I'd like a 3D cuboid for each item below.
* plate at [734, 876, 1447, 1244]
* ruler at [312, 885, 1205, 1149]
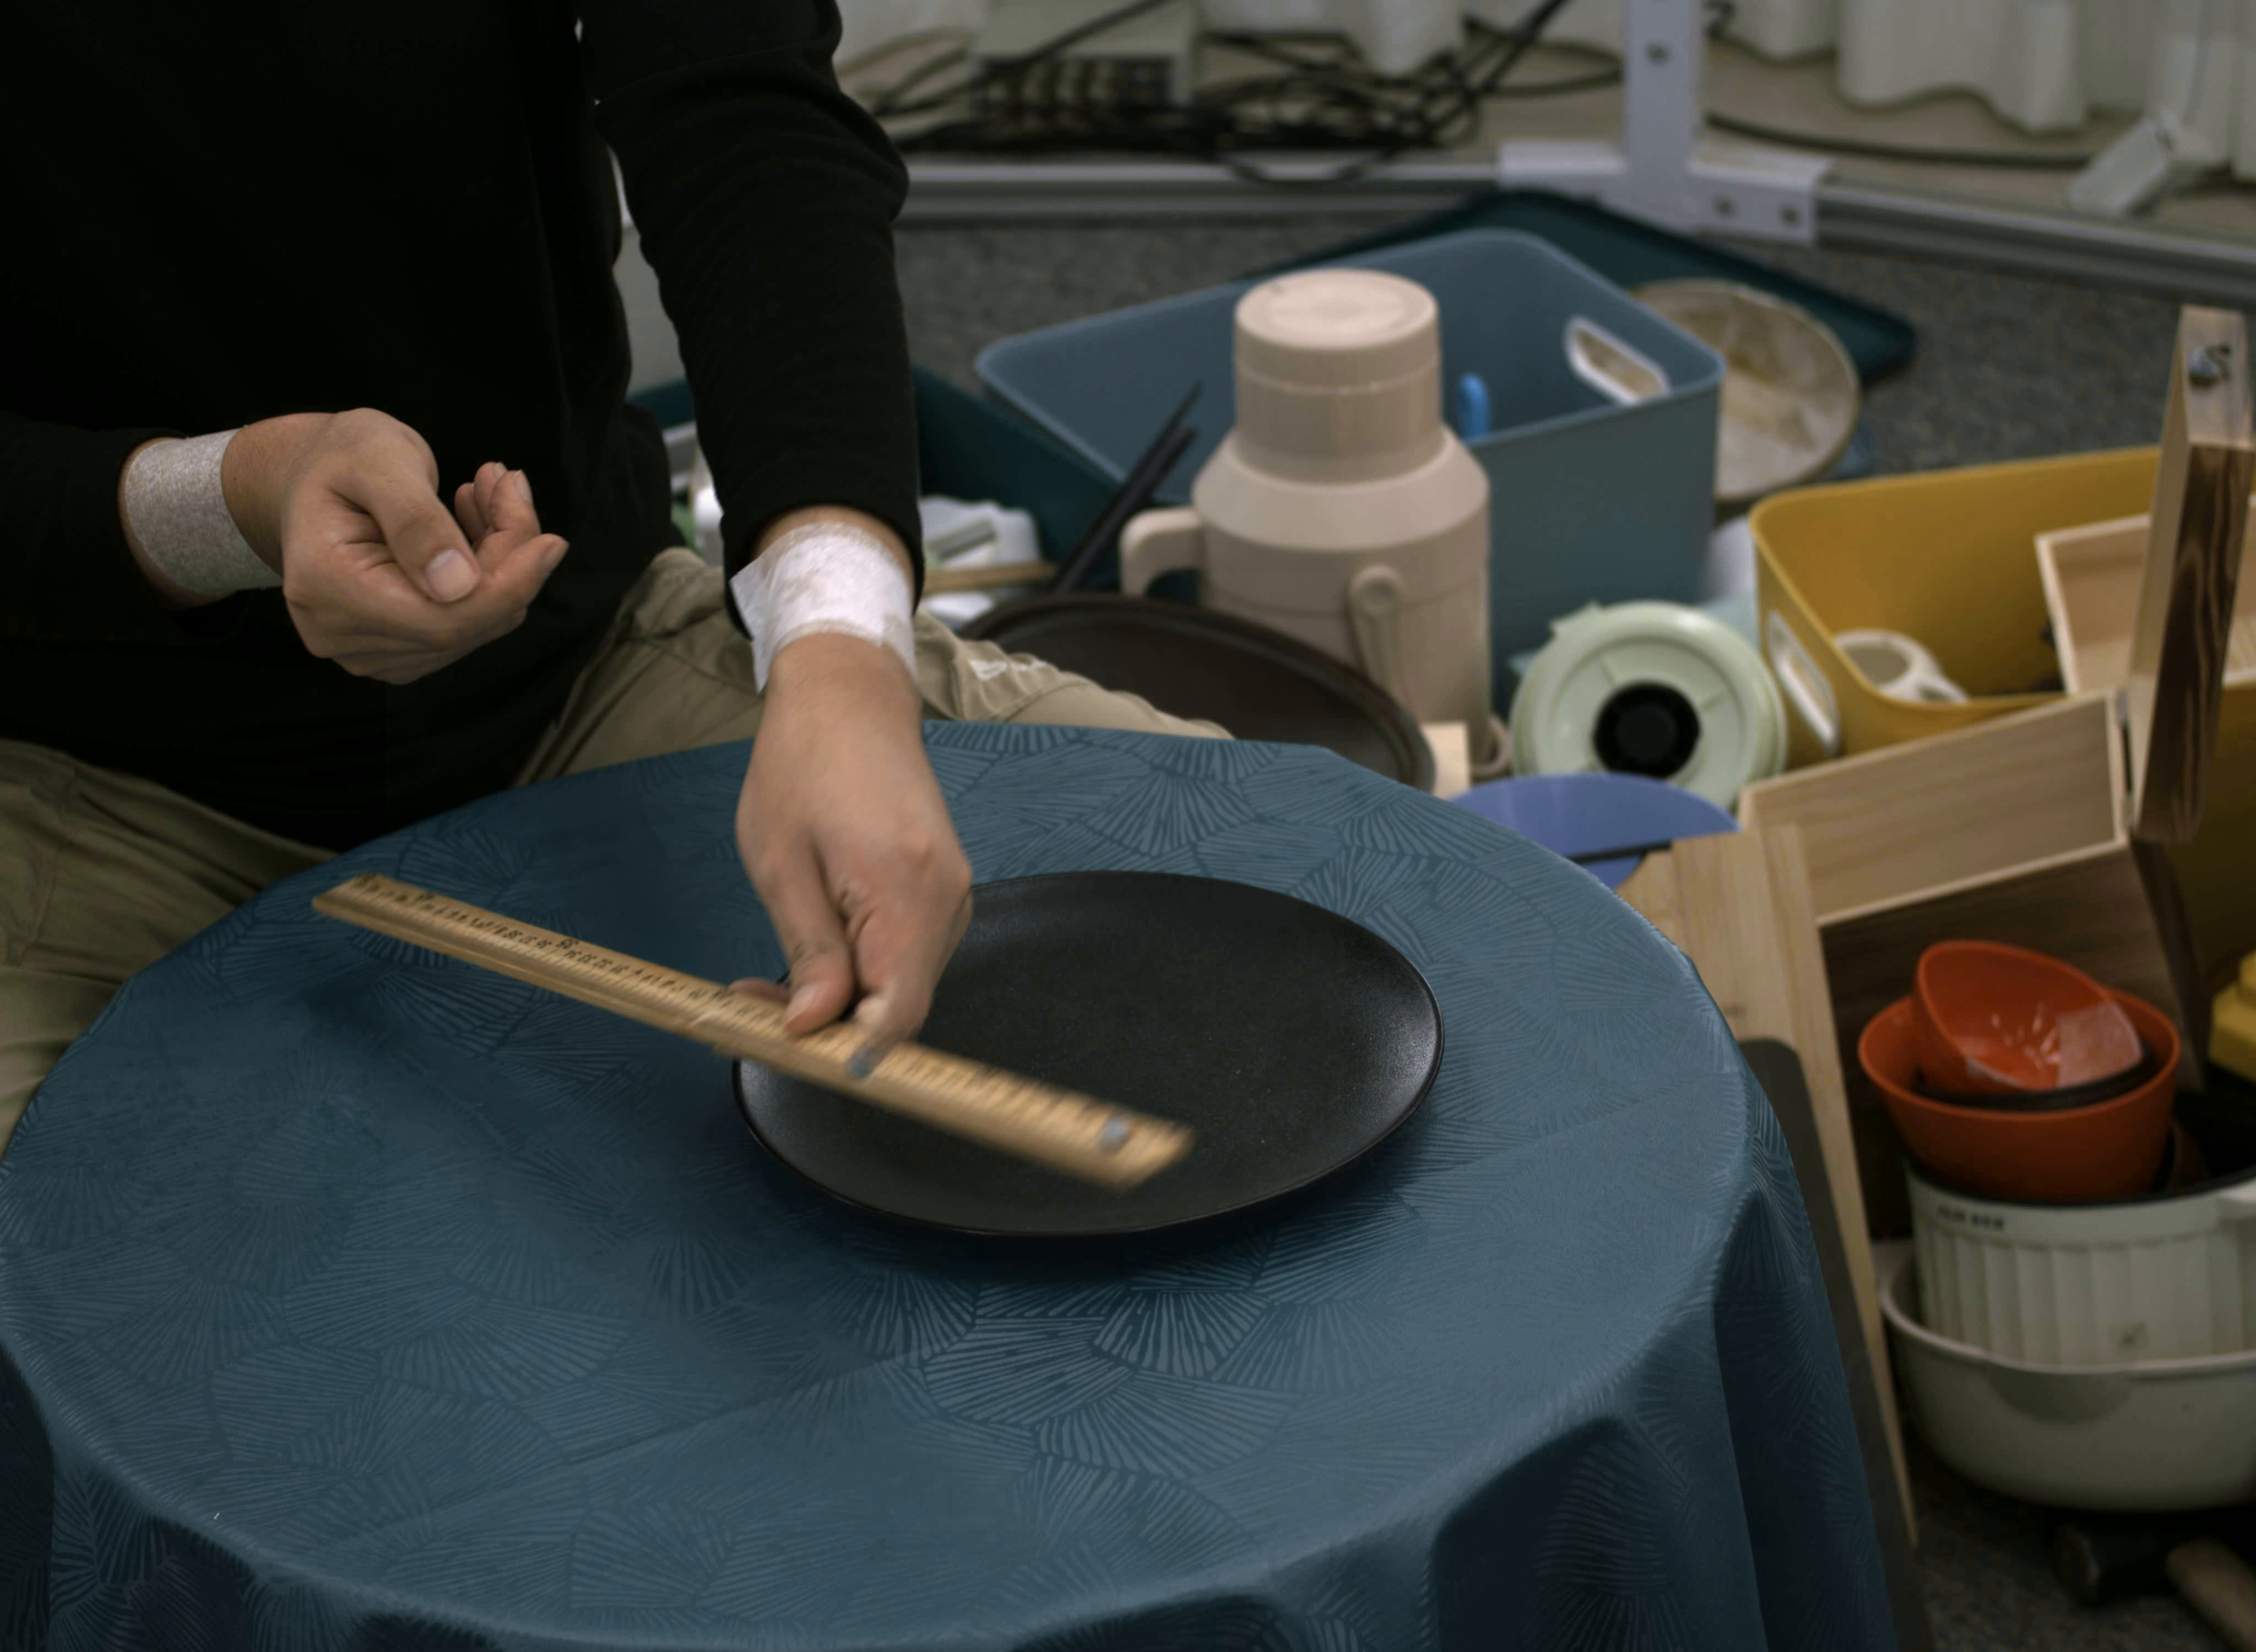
[{"bbox_3d":[-0.012,0.083,1.911,0.243,0.023,0.248,-2,27,2],"label":"plate"},{"bbox_3d":[-0.133,0.057,1.808,0.027,0.006,0.498,-26,22,-31],"label":"ruler"}]
